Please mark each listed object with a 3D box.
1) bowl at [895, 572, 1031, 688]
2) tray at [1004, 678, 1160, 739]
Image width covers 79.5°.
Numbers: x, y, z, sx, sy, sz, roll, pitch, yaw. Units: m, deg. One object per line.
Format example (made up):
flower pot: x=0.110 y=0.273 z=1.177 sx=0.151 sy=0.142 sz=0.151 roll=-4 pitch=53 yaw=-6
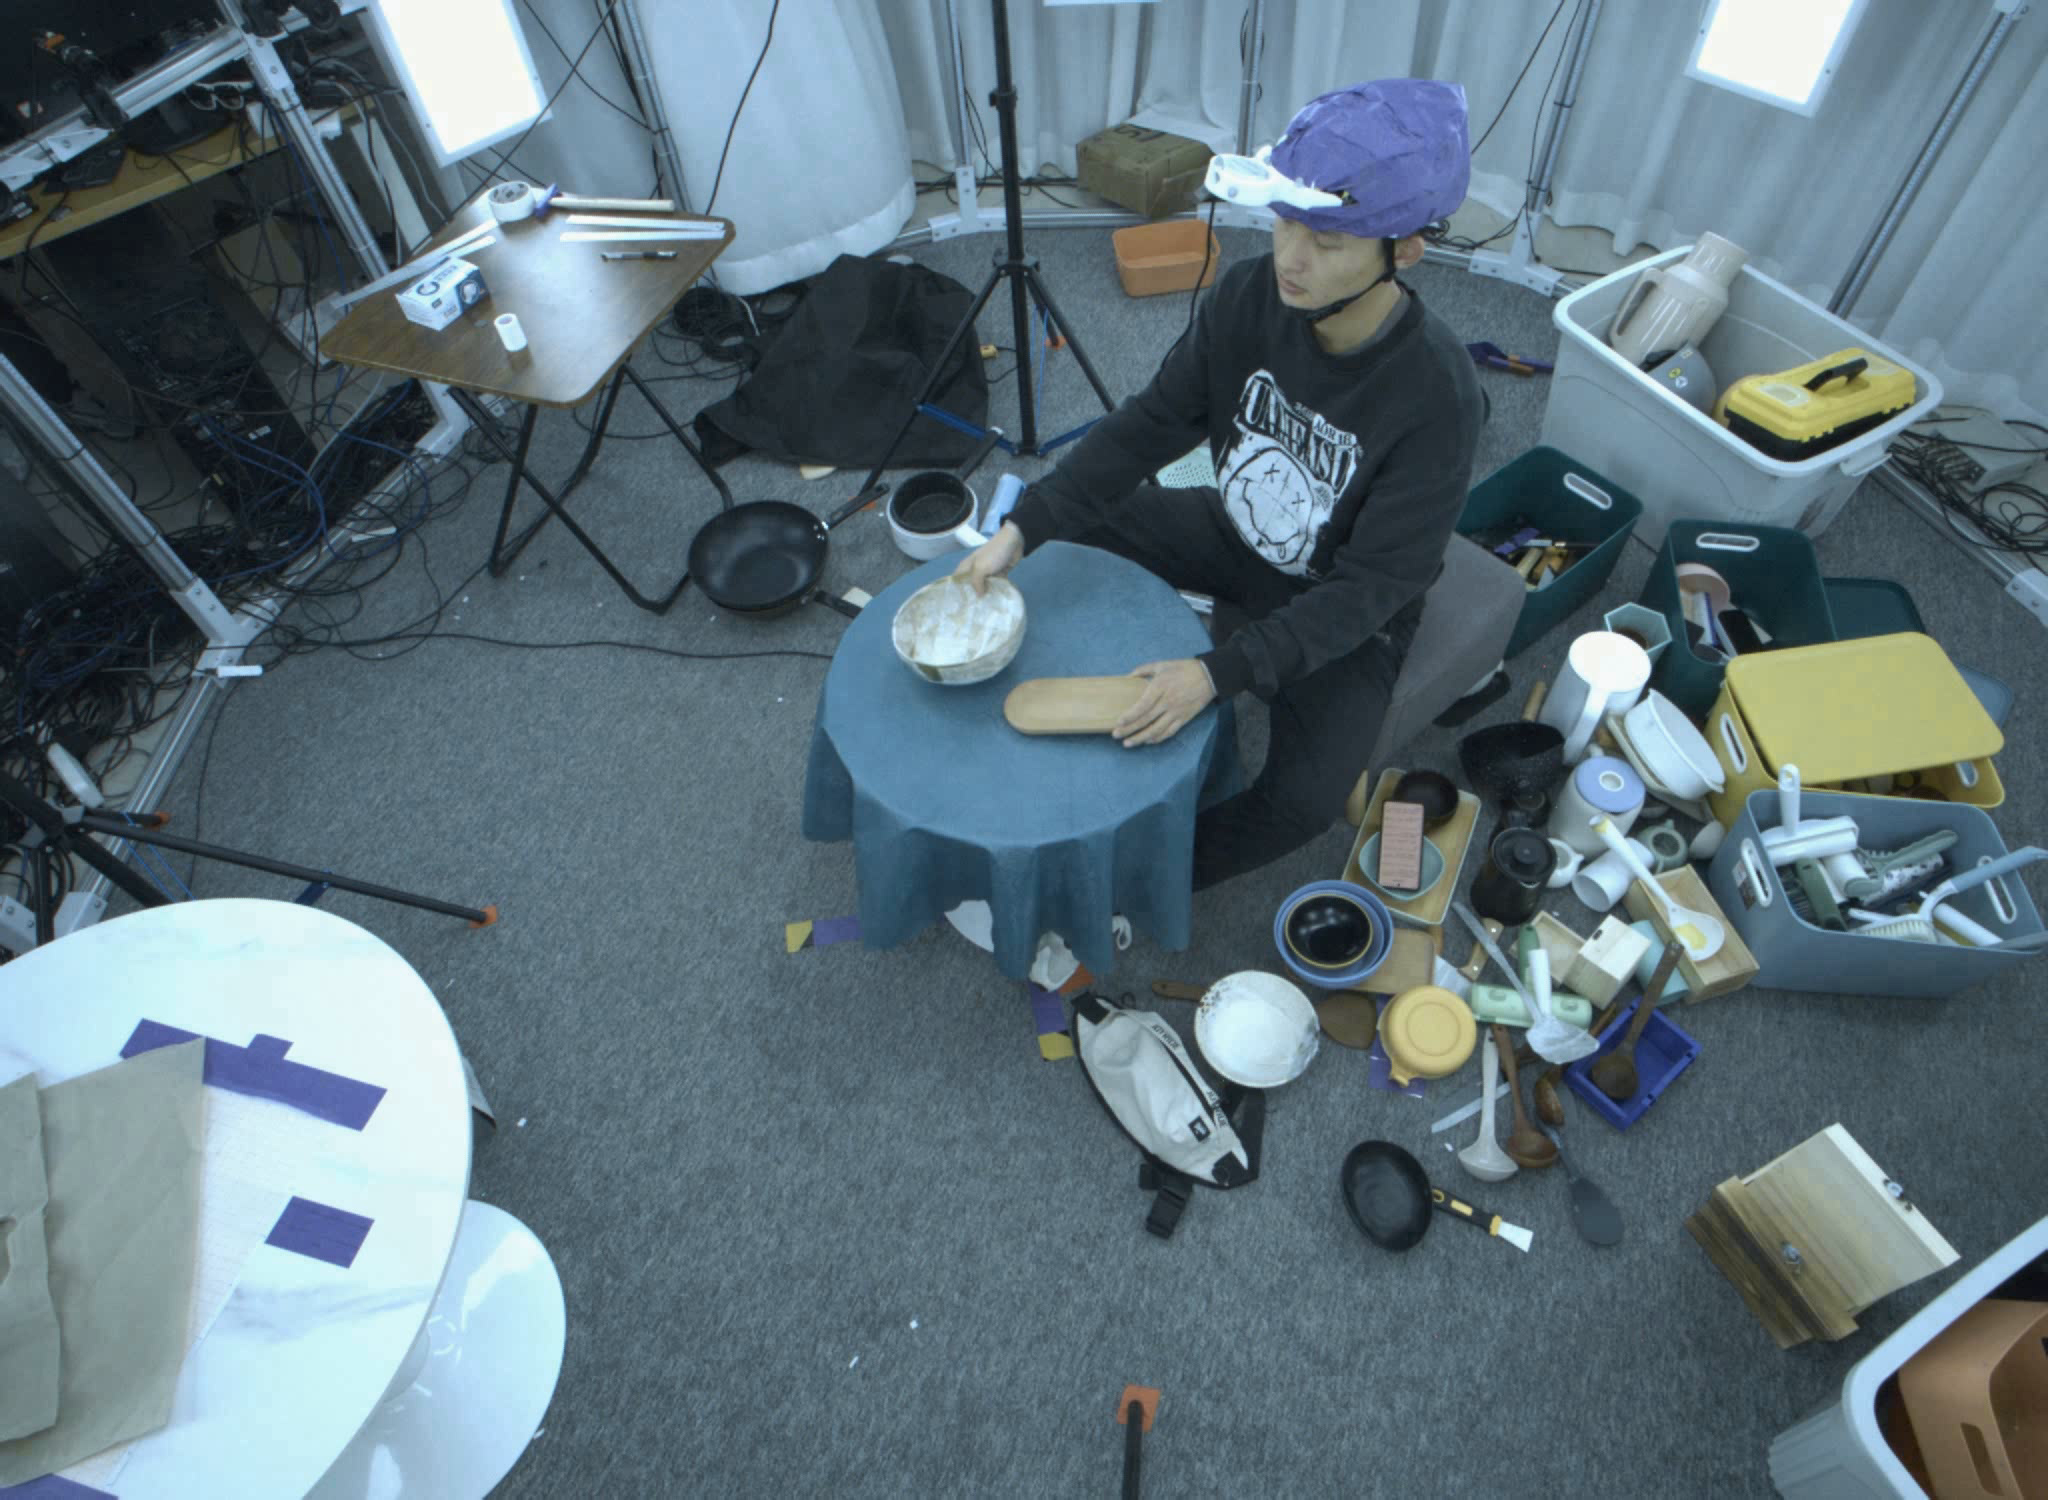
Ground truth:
bowl: x=-0.082 y=-0.162 z=1.842 sx=0.213 sy=0.096 sz=0.212 roll=-7 pitch=49 yaw=9
tray: x=0.085 y=-0.060 z=1.814 sx=0.230 sy=0.020 sz=0.101 roll=-3 pitch=50 yaw=9
